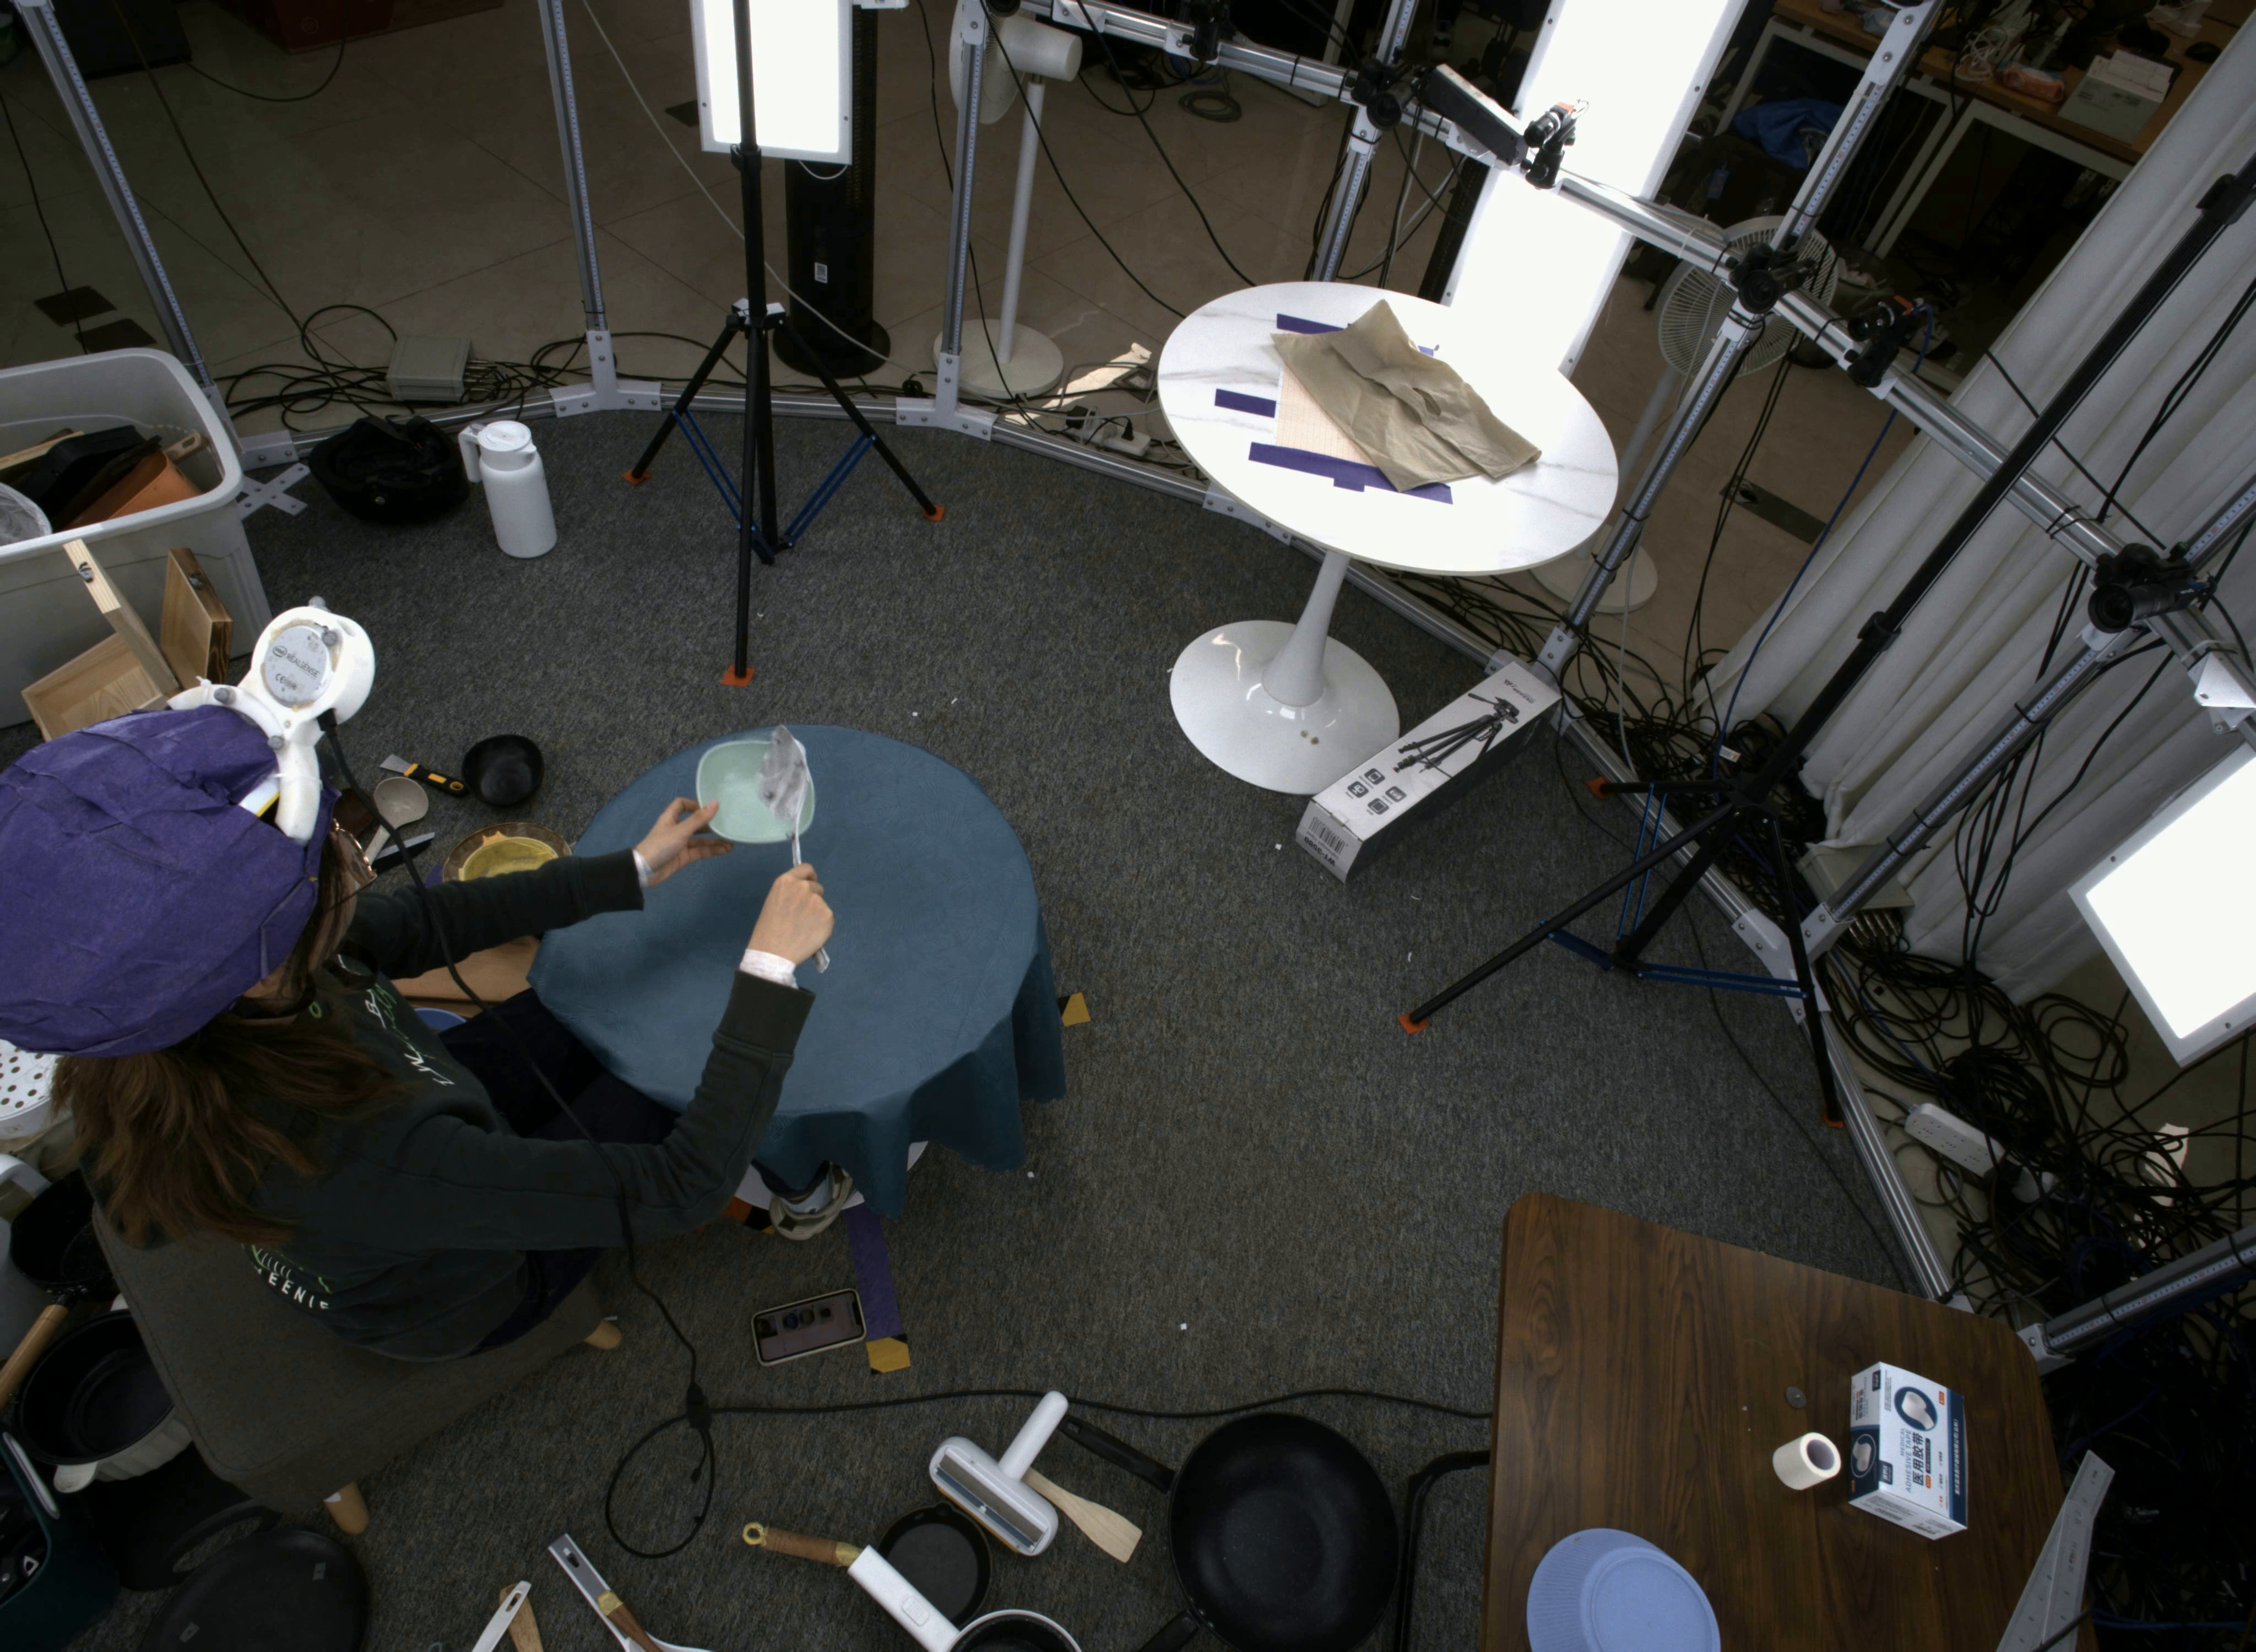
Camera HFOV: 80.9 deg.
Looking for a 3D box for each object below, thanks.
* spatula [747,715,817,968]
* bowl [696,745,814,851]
[{"bbox_3d":[-0.359,0.014,1.357,0.046,0.100,0.353,16,30,-29],"label":"spatula"},{"bbox_3d":[-0.455,-0.025,1.568,0.153,0.059,0.149,13,58,-20],"label":"bowl"}]
